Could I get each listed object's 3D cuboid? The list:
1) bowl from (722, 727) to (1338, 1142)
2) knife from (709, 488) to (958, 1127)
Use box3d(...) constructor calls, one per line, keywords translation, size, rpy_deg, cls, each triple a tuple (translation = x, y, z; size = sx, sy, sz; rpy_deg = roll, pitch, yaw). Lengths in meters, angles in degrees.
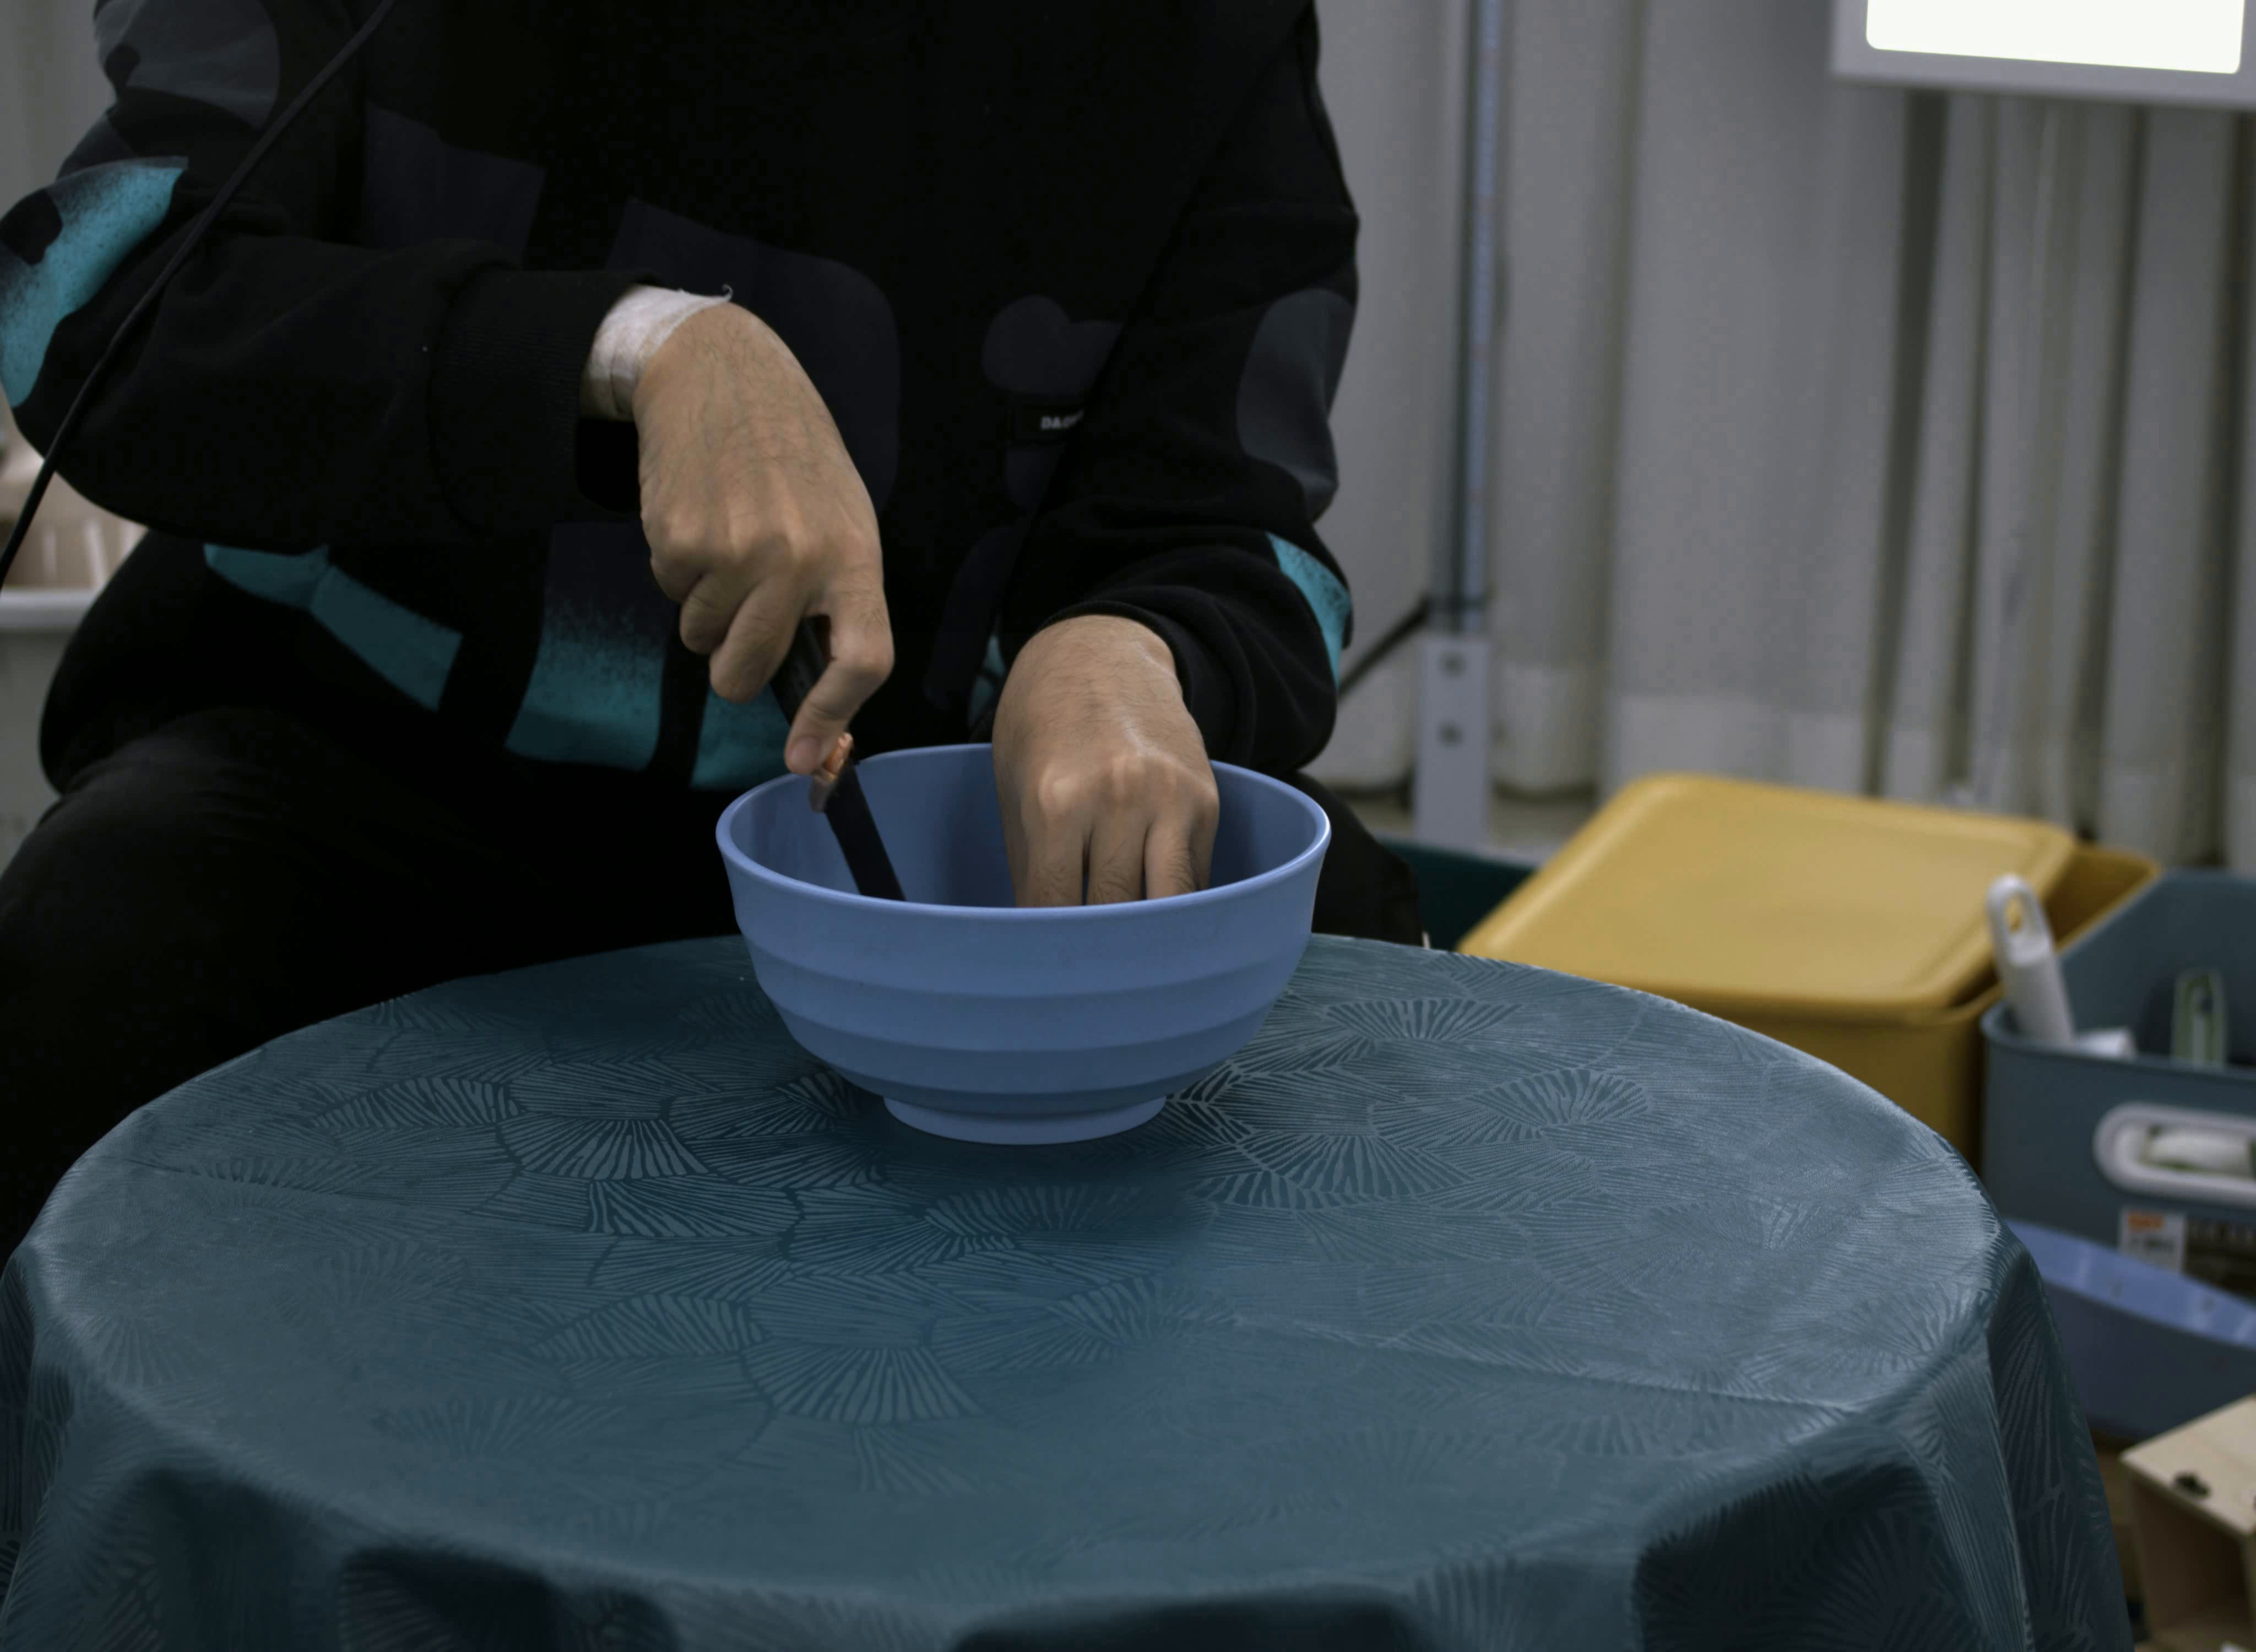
box3d(translation=(-0.032, 0.041, 1.690), size=(0.196, 0.096, 0.195), rpy_deg=(2, 18, 0), cls="bowl")
box3d(translation=(-0.091, -0.008, 1.697), size=(0.017, 0.224, 0.026), rpy_deg=(-7, -22, -45), cls="knife")
